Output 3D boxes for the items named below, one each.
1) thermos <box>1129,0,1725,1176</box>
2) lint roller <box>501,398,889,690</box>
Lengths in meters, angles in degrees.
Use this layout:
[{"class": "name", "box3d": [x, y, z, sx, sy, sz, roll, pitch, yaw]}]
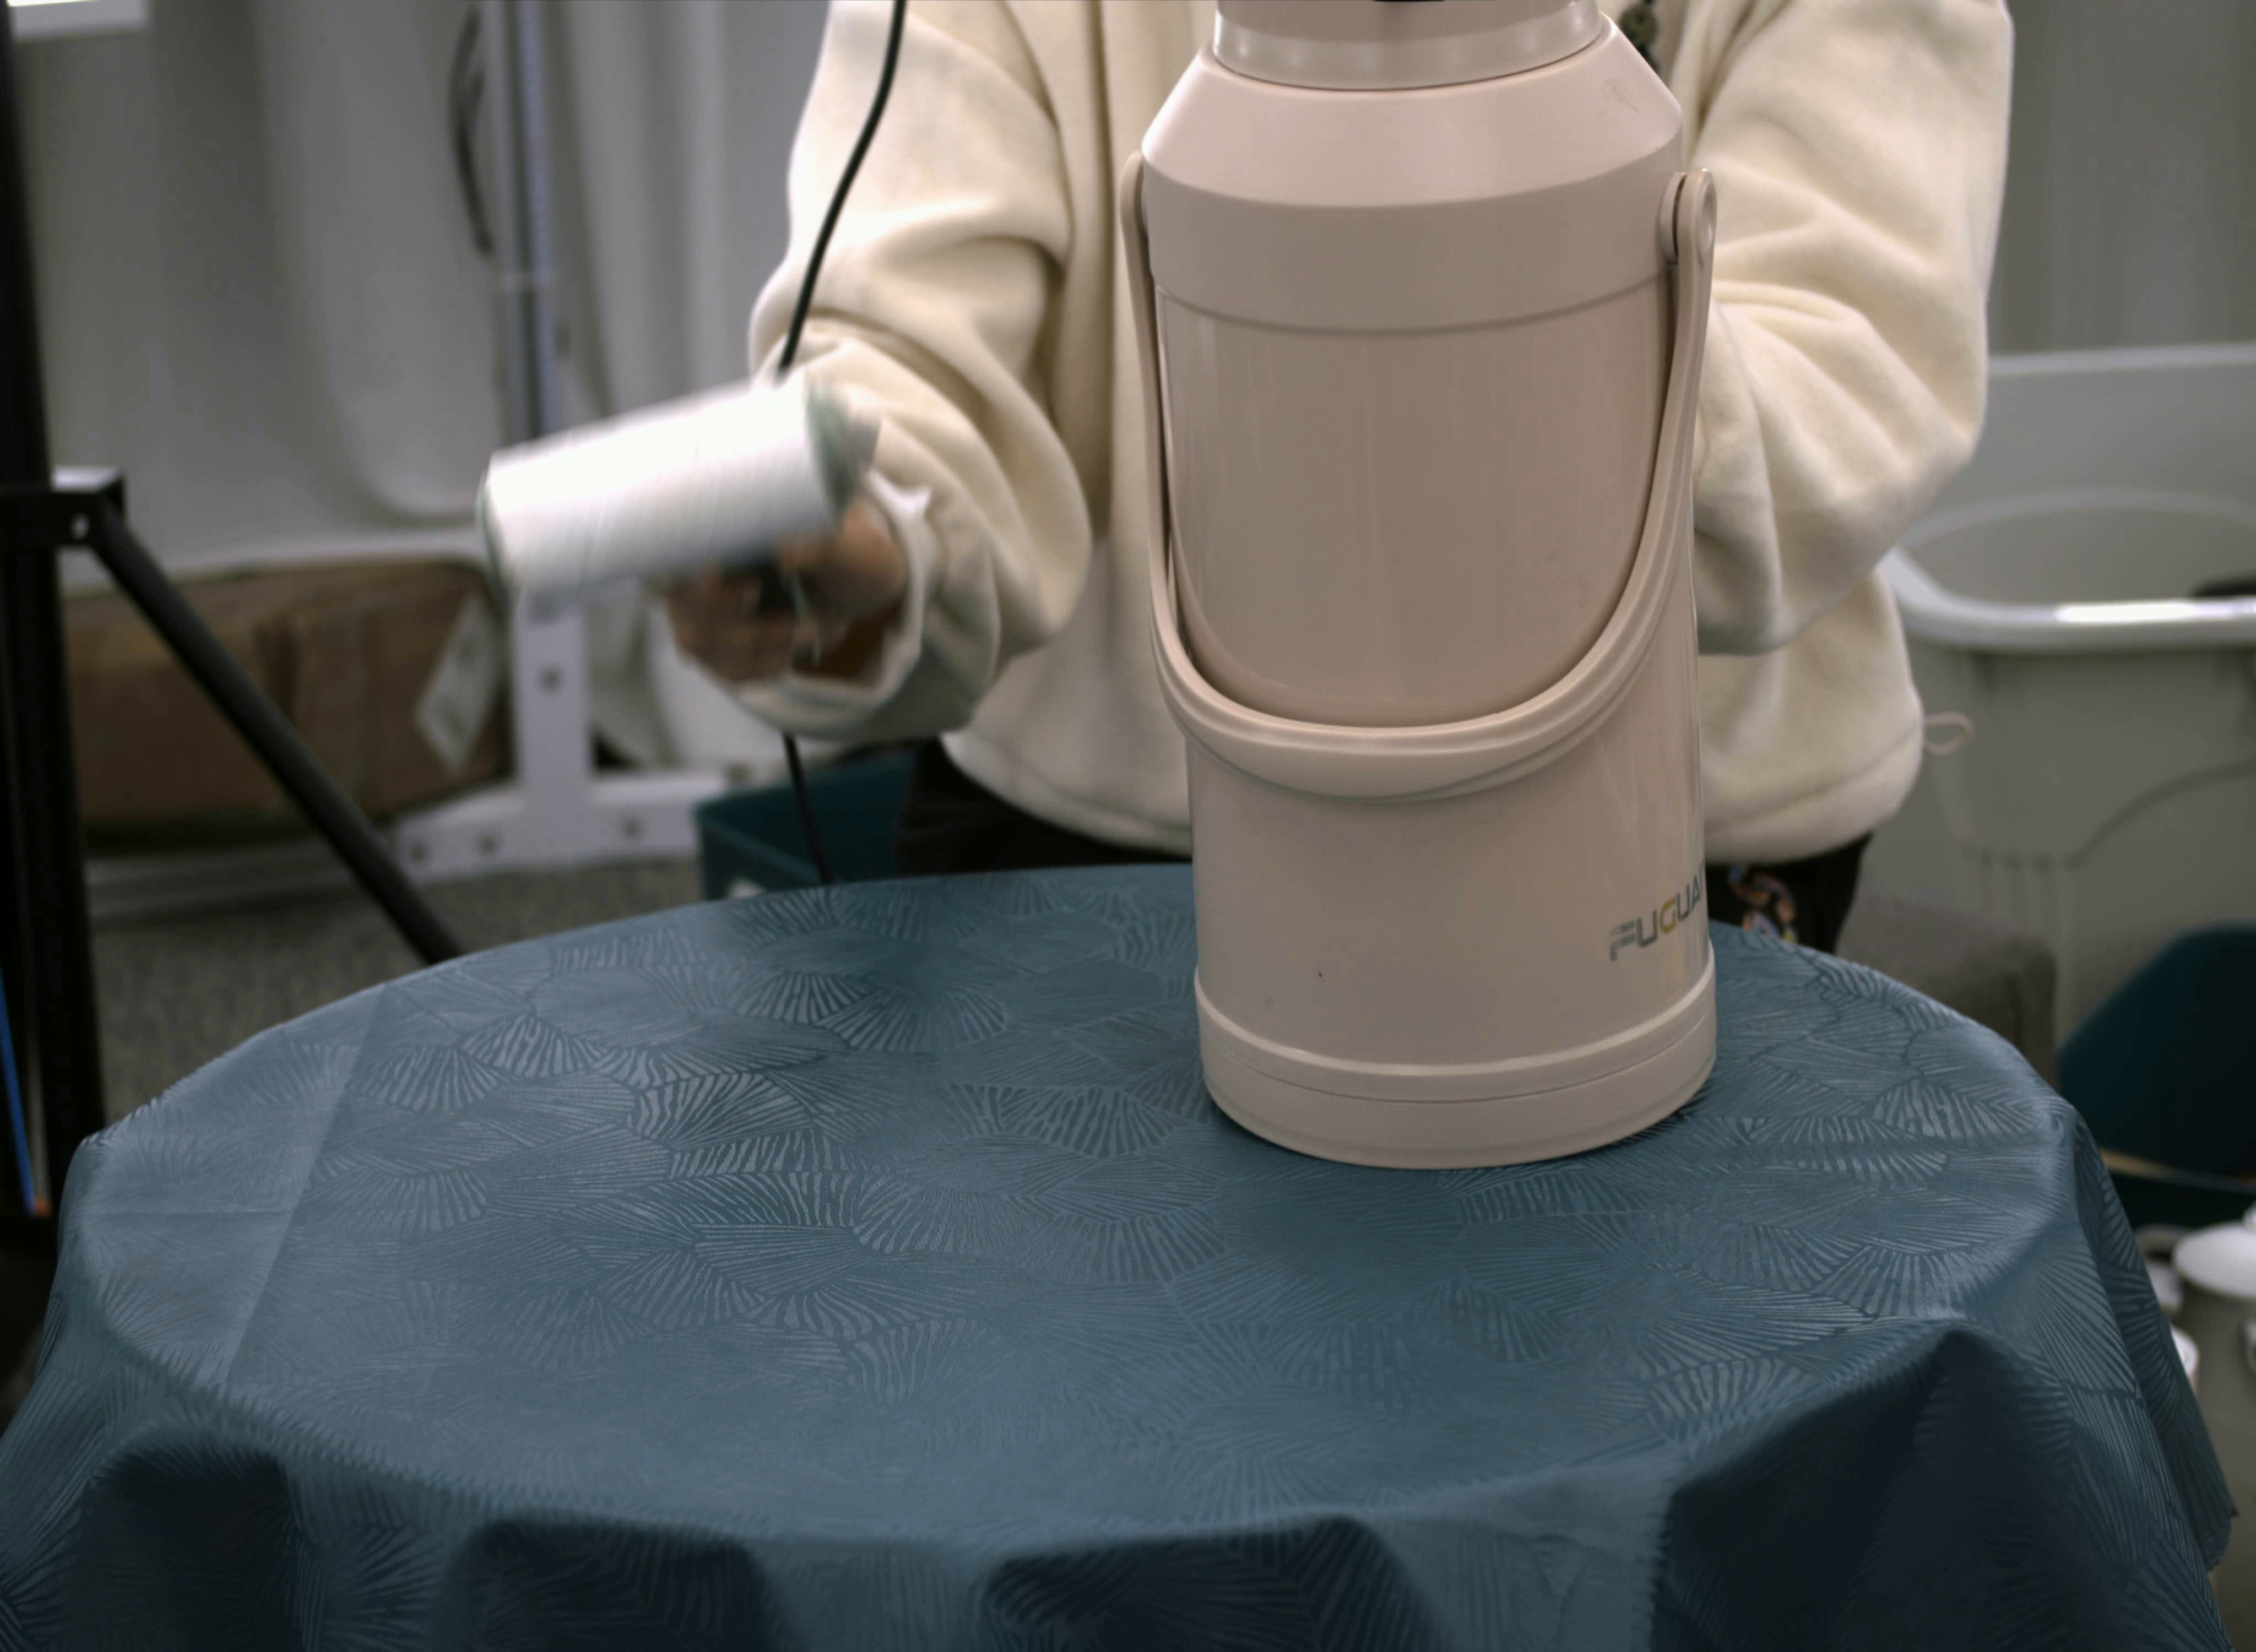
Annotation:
[{"class": "thermos", "box3d": [0.095, -0.115, 1.573, 0.177, 0.405, 0.205, 4, 22, 22]}, {"class": "lint roller", "box3d": [-0.121, -0.082, 1.676, 0.117, 0.049, 0.195, -18, -9, 6]}]
